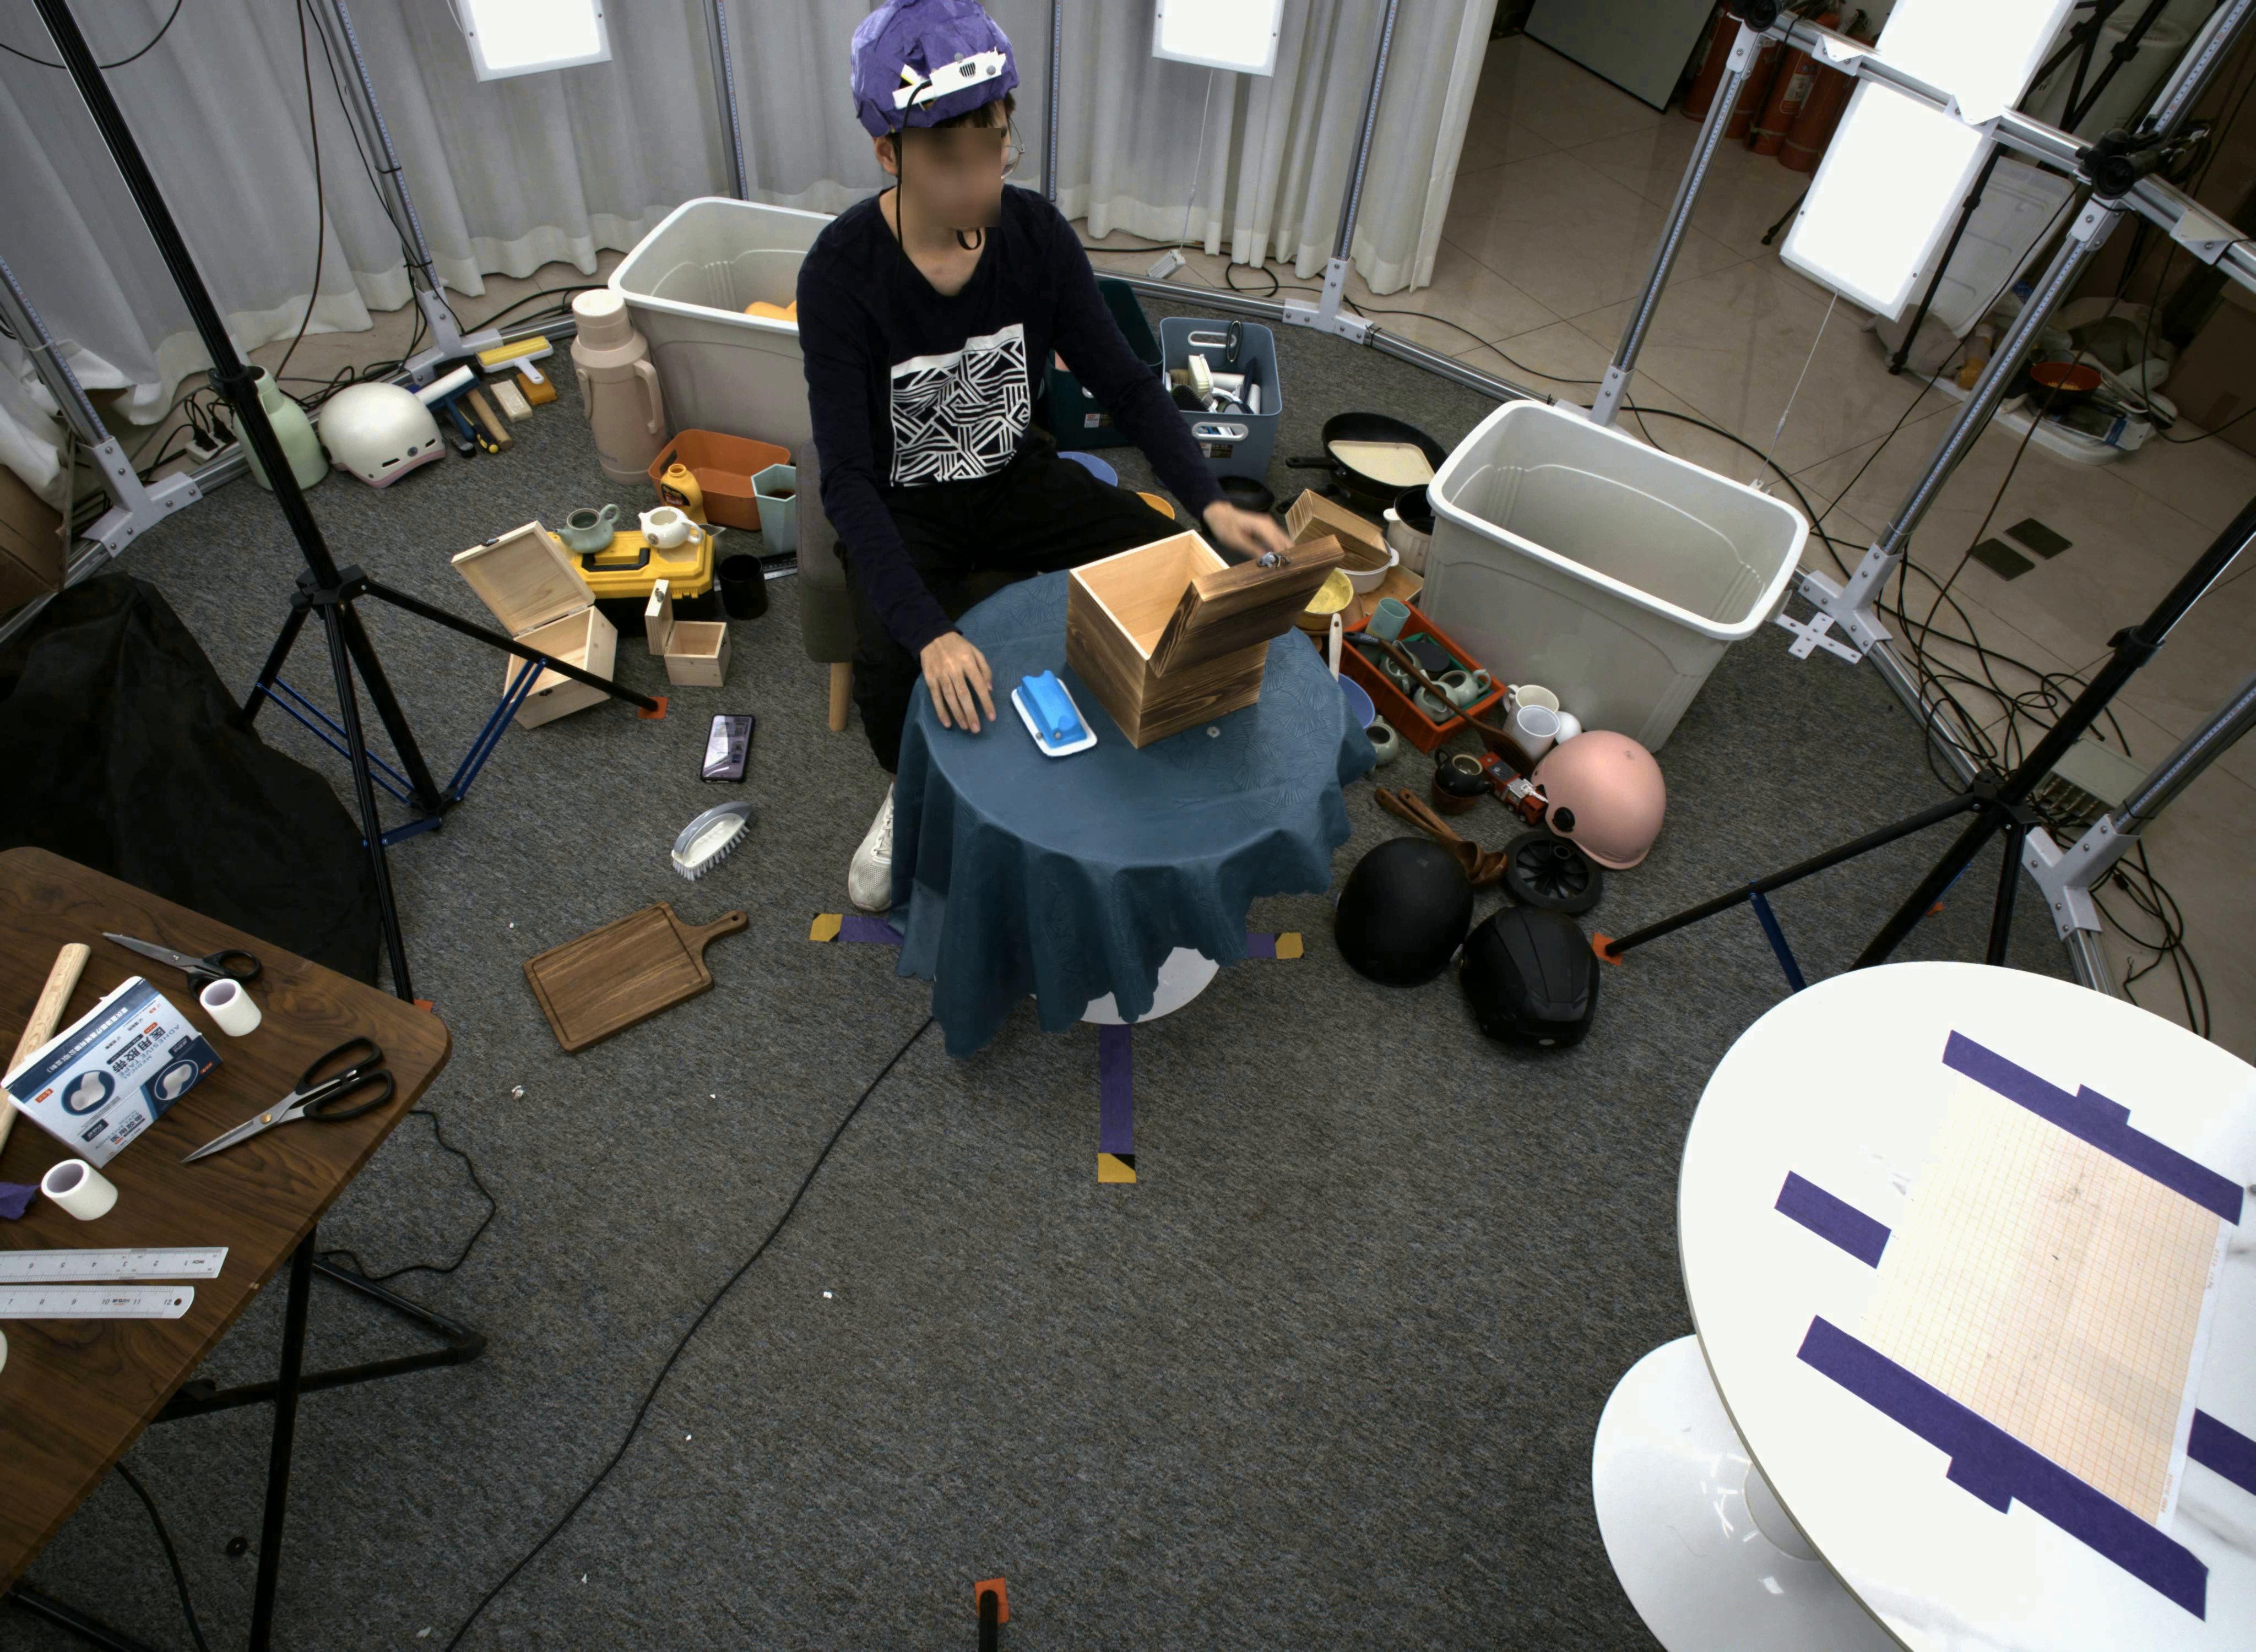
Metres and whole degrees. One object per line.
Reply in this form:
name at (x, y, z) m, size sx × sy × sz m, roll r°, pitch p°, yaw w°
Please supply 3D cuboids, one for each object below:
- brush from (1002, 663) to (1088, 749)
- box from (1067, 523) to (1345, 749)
brush at (-0.112, -0.171, 1.759) m, size 0.084 × 0.054 × 0.147 m, roll -16°, pitch 56°, yaw -21°
box at (0.085, -0.290, 1.692) m, size 0.209 × 0.366 × 0.329 m, roll -22°, pitch 54°, yaw -22°
